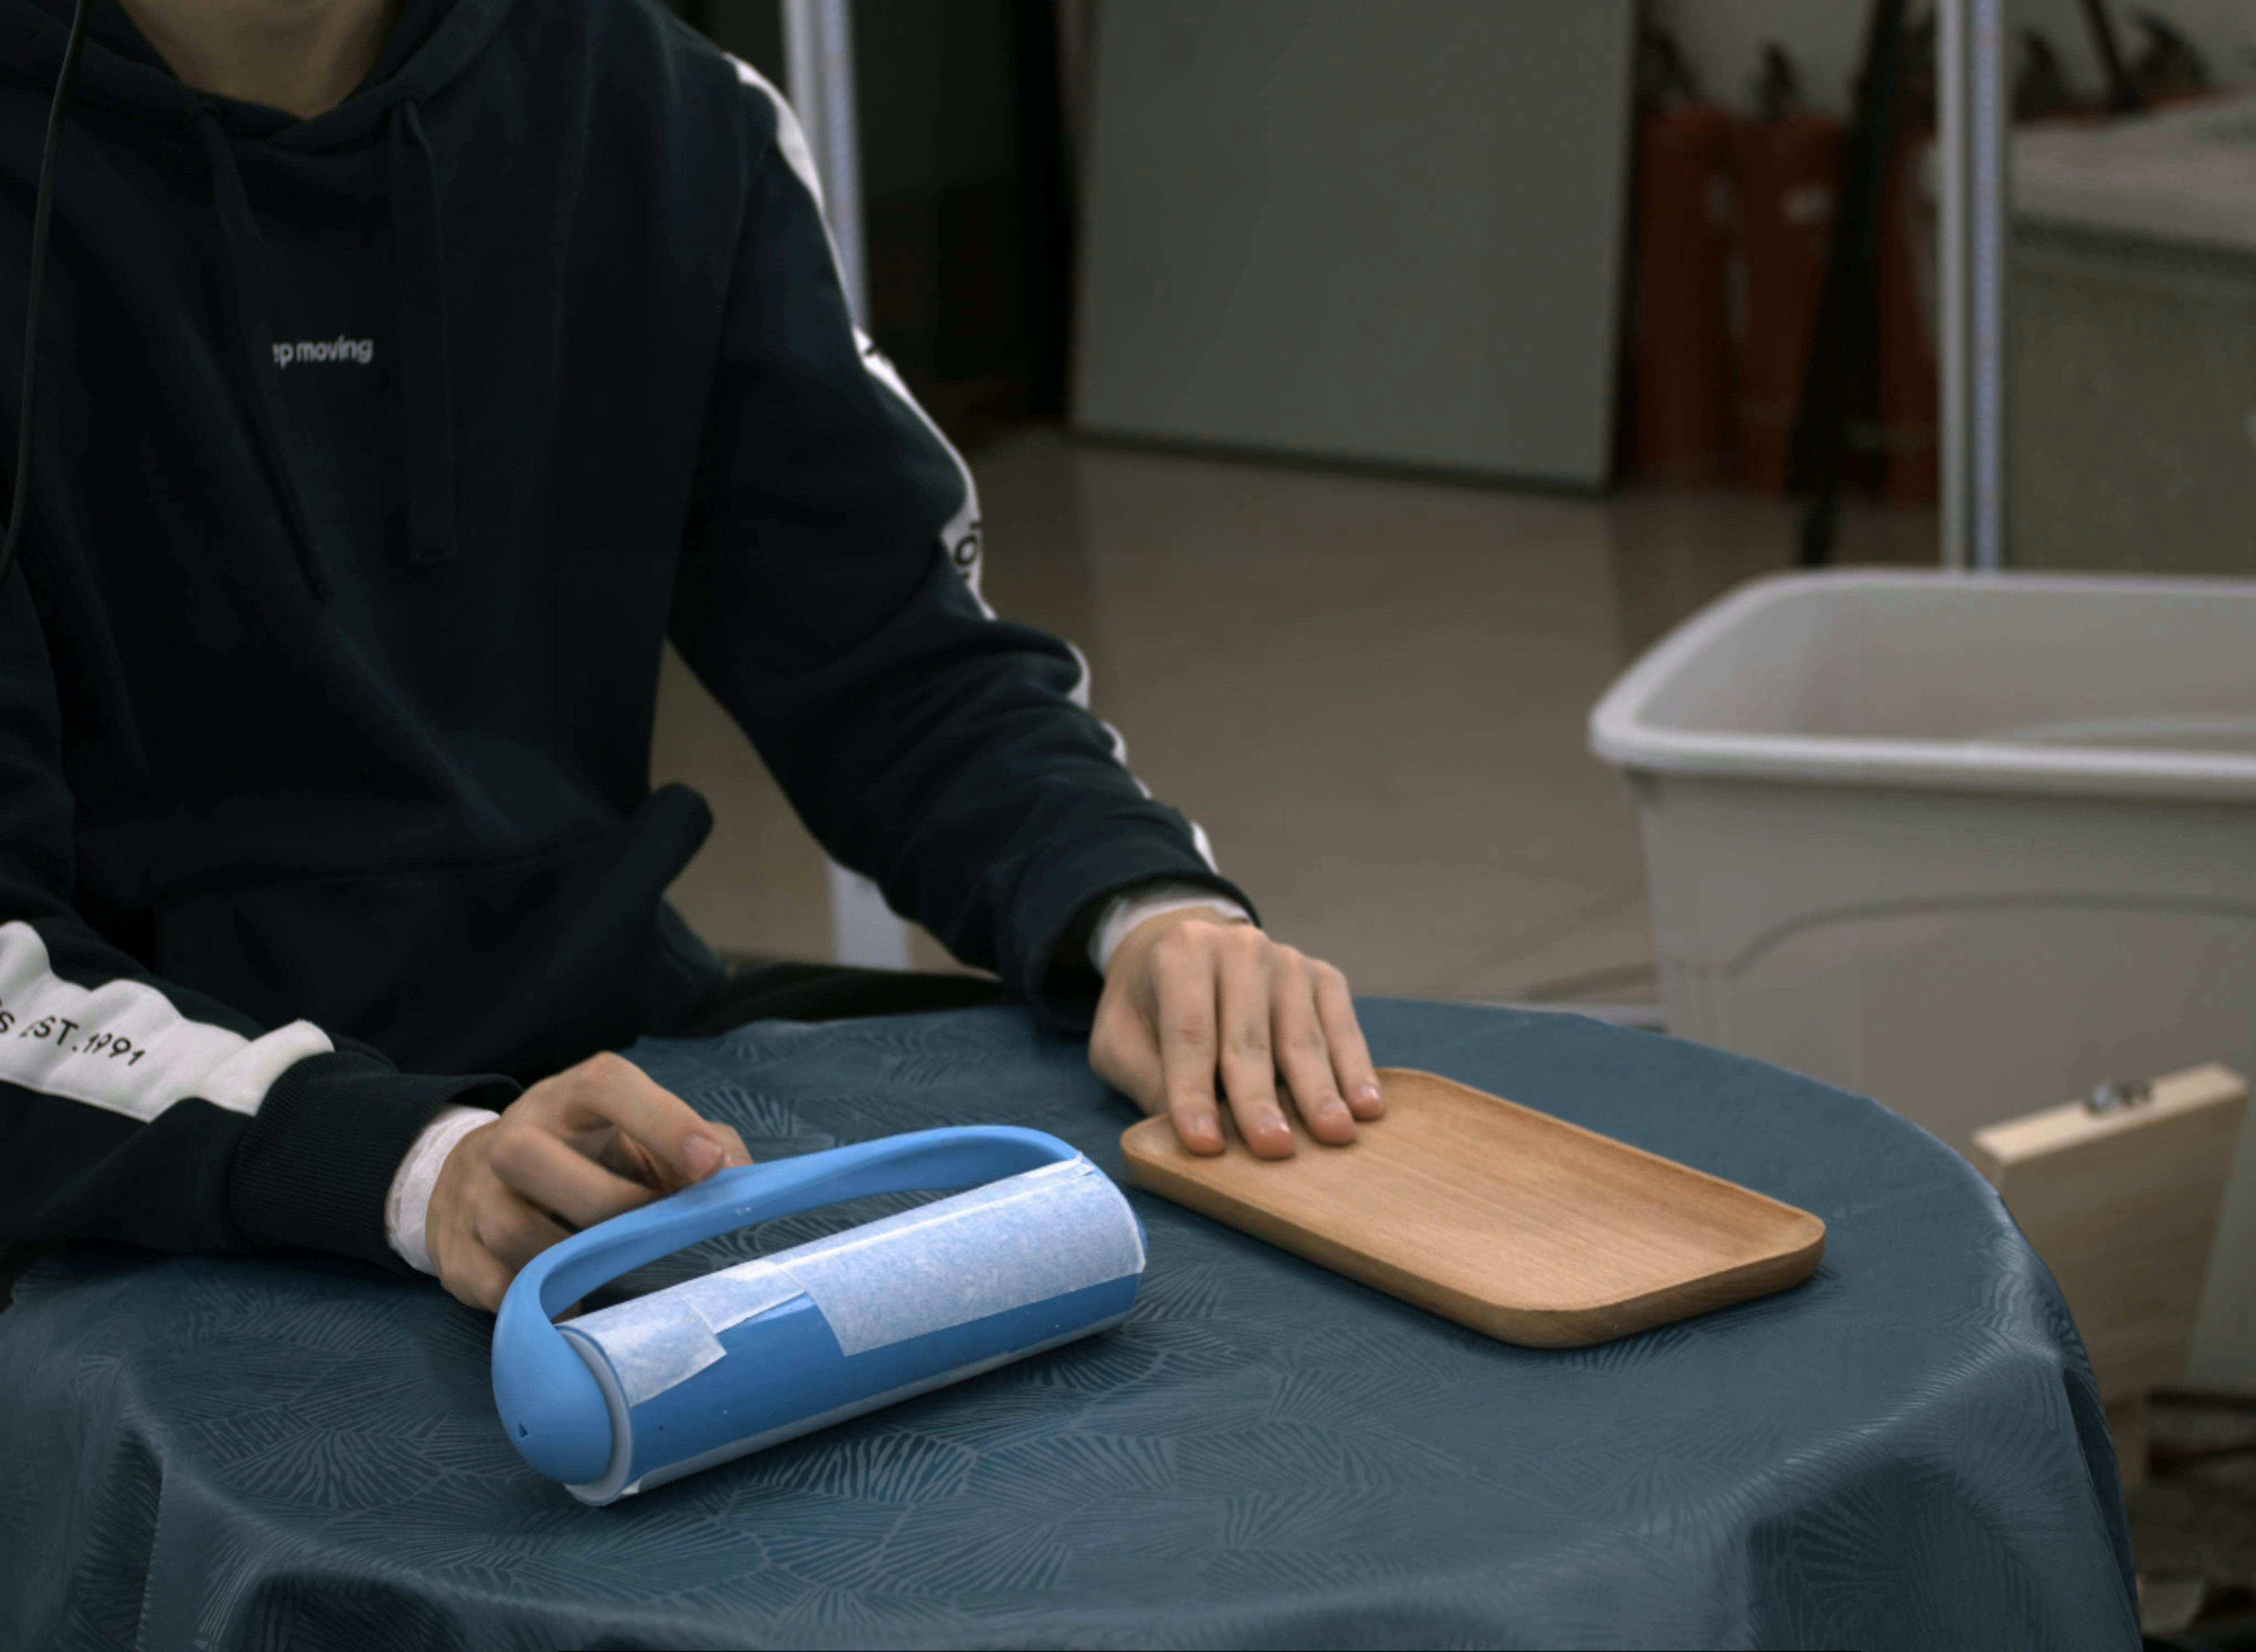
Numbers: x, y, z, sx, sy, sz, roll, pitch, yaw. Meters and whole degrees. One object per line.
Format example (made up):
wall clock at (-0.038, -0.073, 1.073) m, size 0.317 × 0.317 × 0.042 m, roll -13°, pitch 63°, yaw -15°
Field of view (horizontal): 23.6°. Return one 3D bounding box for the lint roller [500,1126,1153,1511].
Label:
lint roller at (-0.123, 0.137, 1.623) m, size 0.224 × 0.068 × 0.182 m, roll -18°, pitch 21°, yaw -40°

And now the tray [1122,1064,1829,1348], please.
tray at (0.107, 0.119, 1.714) m, size 0.127 × 0.023 × 0.253 m, roll -10°, pitch 14°, yaw -30°
